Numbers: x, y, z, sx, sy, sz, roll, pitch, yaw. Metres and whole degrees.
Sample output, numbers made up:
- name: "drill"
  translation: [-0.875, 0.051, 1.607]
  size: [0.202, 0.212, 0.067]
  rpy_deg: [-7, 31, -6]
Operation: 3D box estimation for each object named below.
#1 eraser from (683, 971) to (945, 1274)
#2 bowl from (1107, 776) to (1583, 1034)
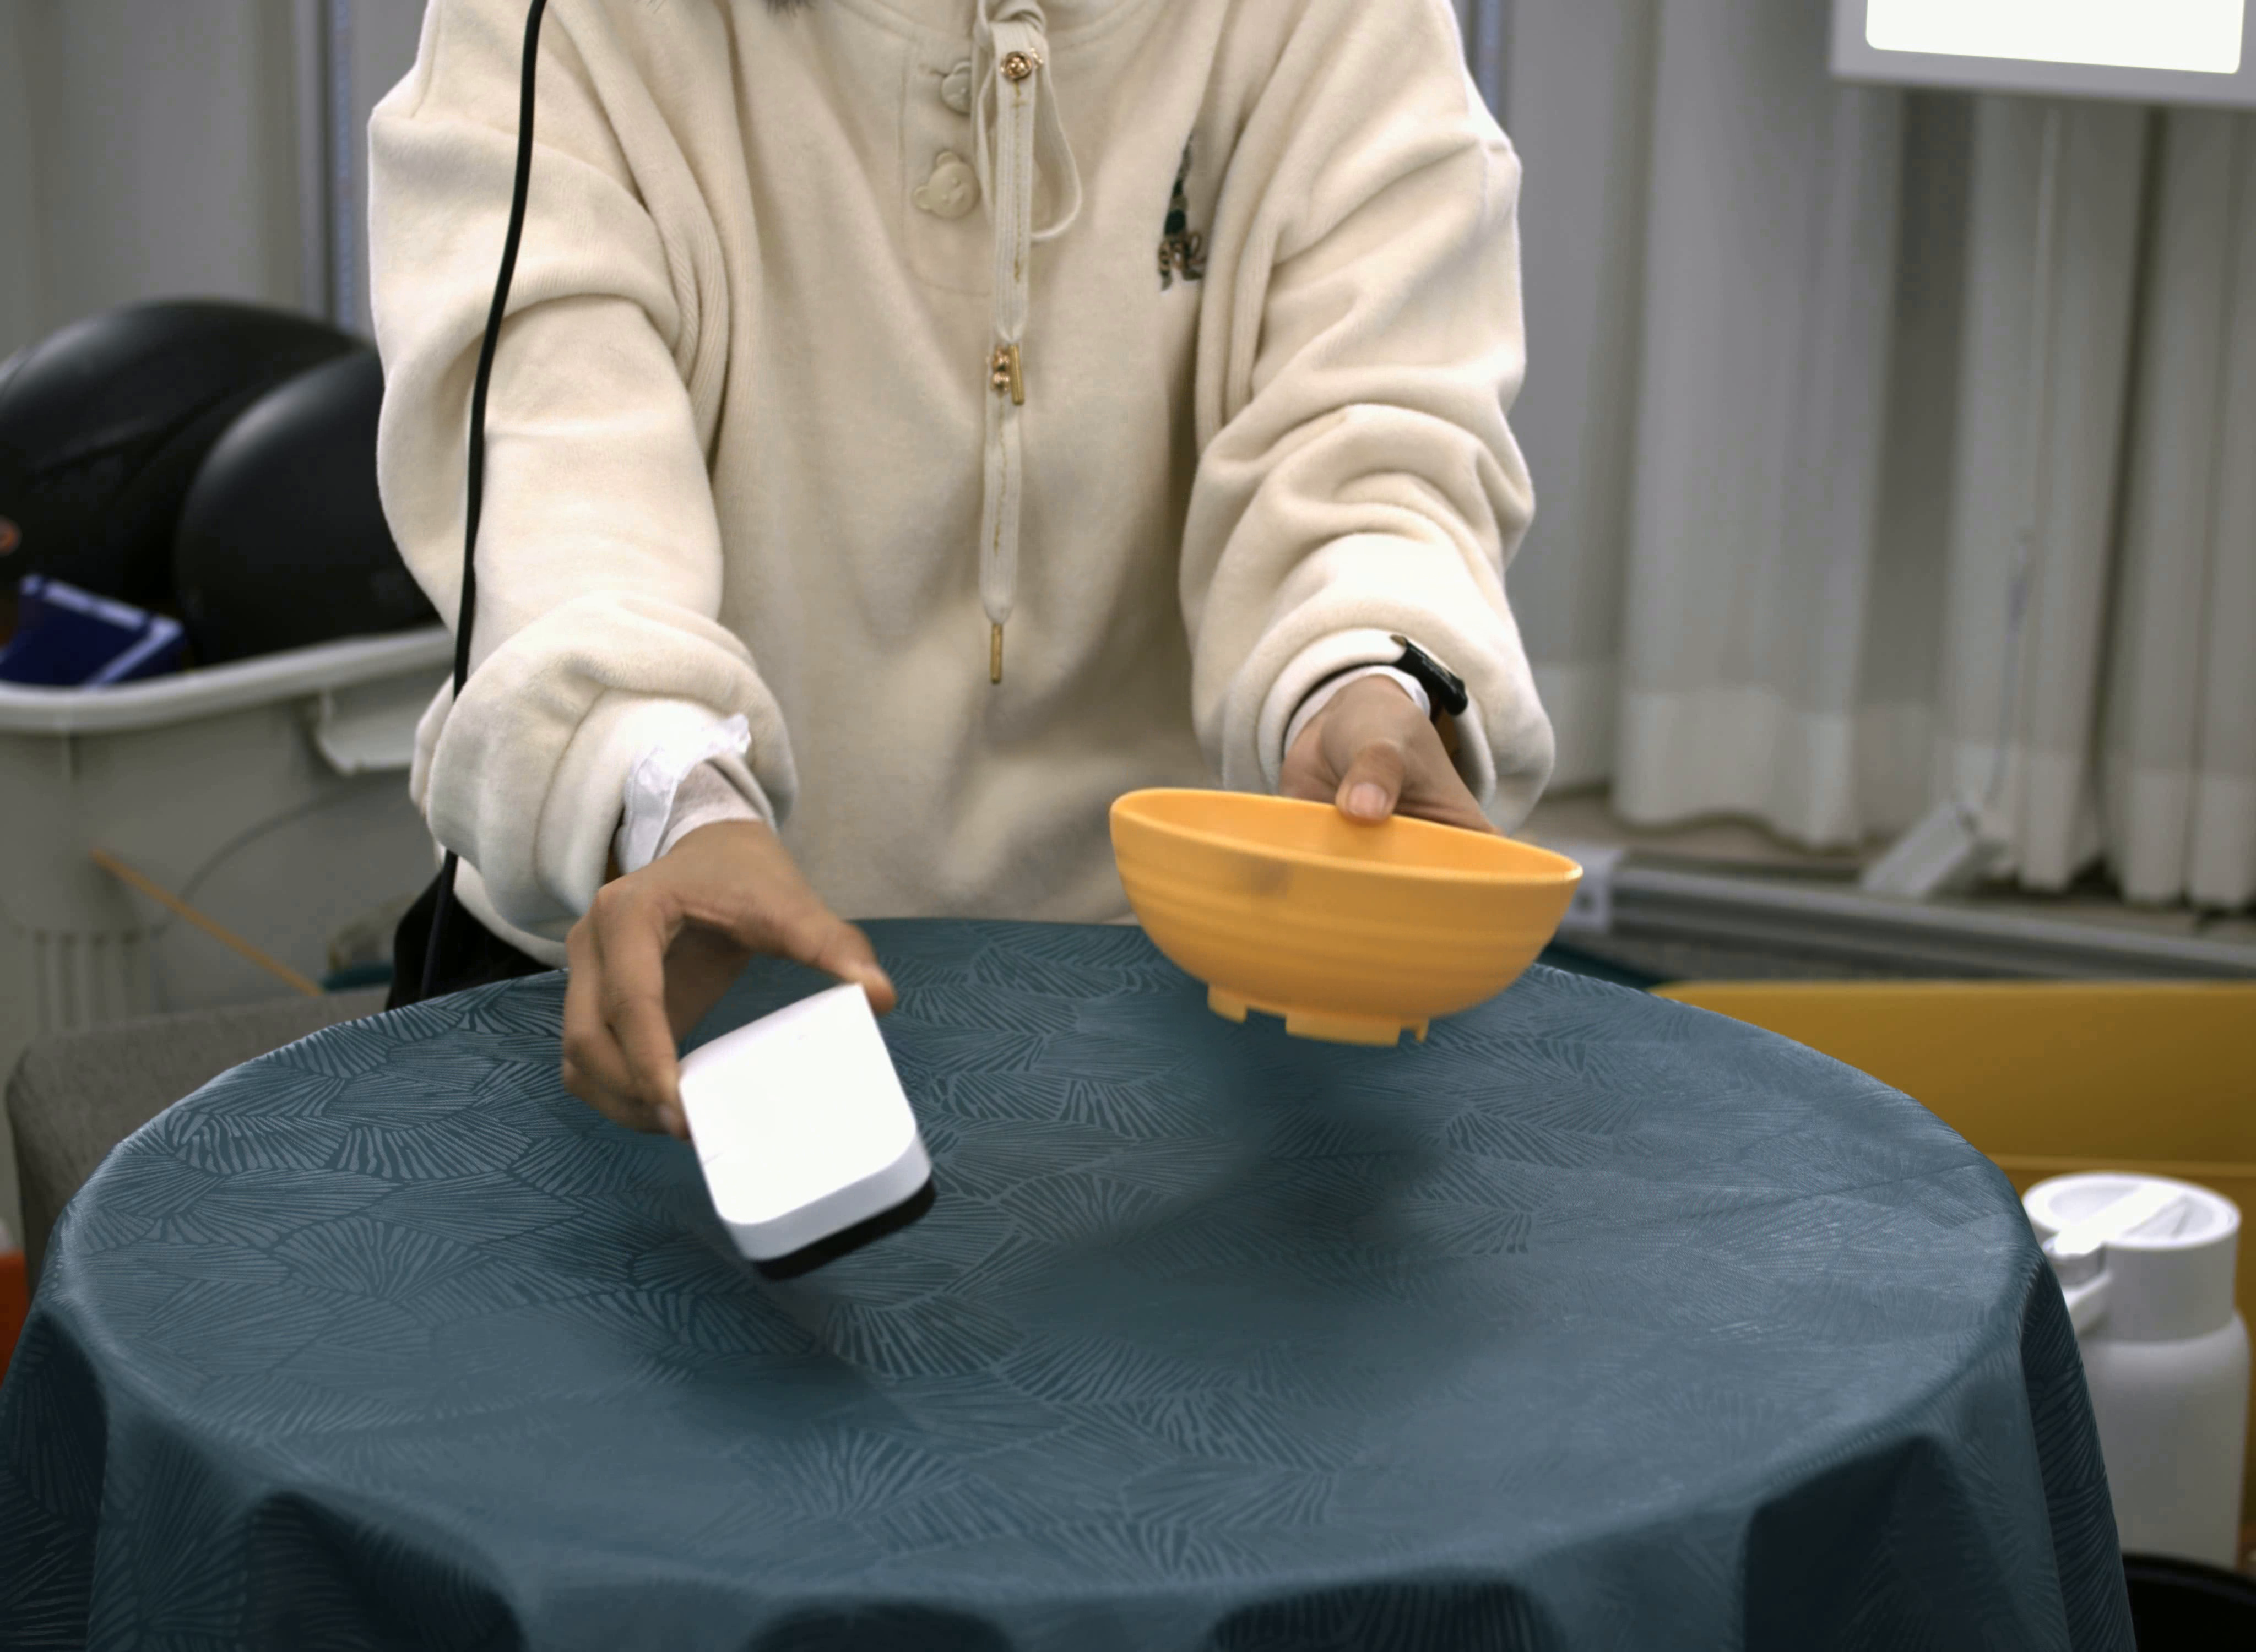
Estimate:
- name: "eraser"
  translation: [-0.089, 0.080, 1.502]
  size: [0.063, 0.035, 0.130]
  rpy_deg: [-27, 23, -1]
- name: "bowl"
  translation: [0.061, 0.027, 1.577]
  size: [0.145, 0.060, 0.145]
  rpy_deg: [8, 8, -1]
